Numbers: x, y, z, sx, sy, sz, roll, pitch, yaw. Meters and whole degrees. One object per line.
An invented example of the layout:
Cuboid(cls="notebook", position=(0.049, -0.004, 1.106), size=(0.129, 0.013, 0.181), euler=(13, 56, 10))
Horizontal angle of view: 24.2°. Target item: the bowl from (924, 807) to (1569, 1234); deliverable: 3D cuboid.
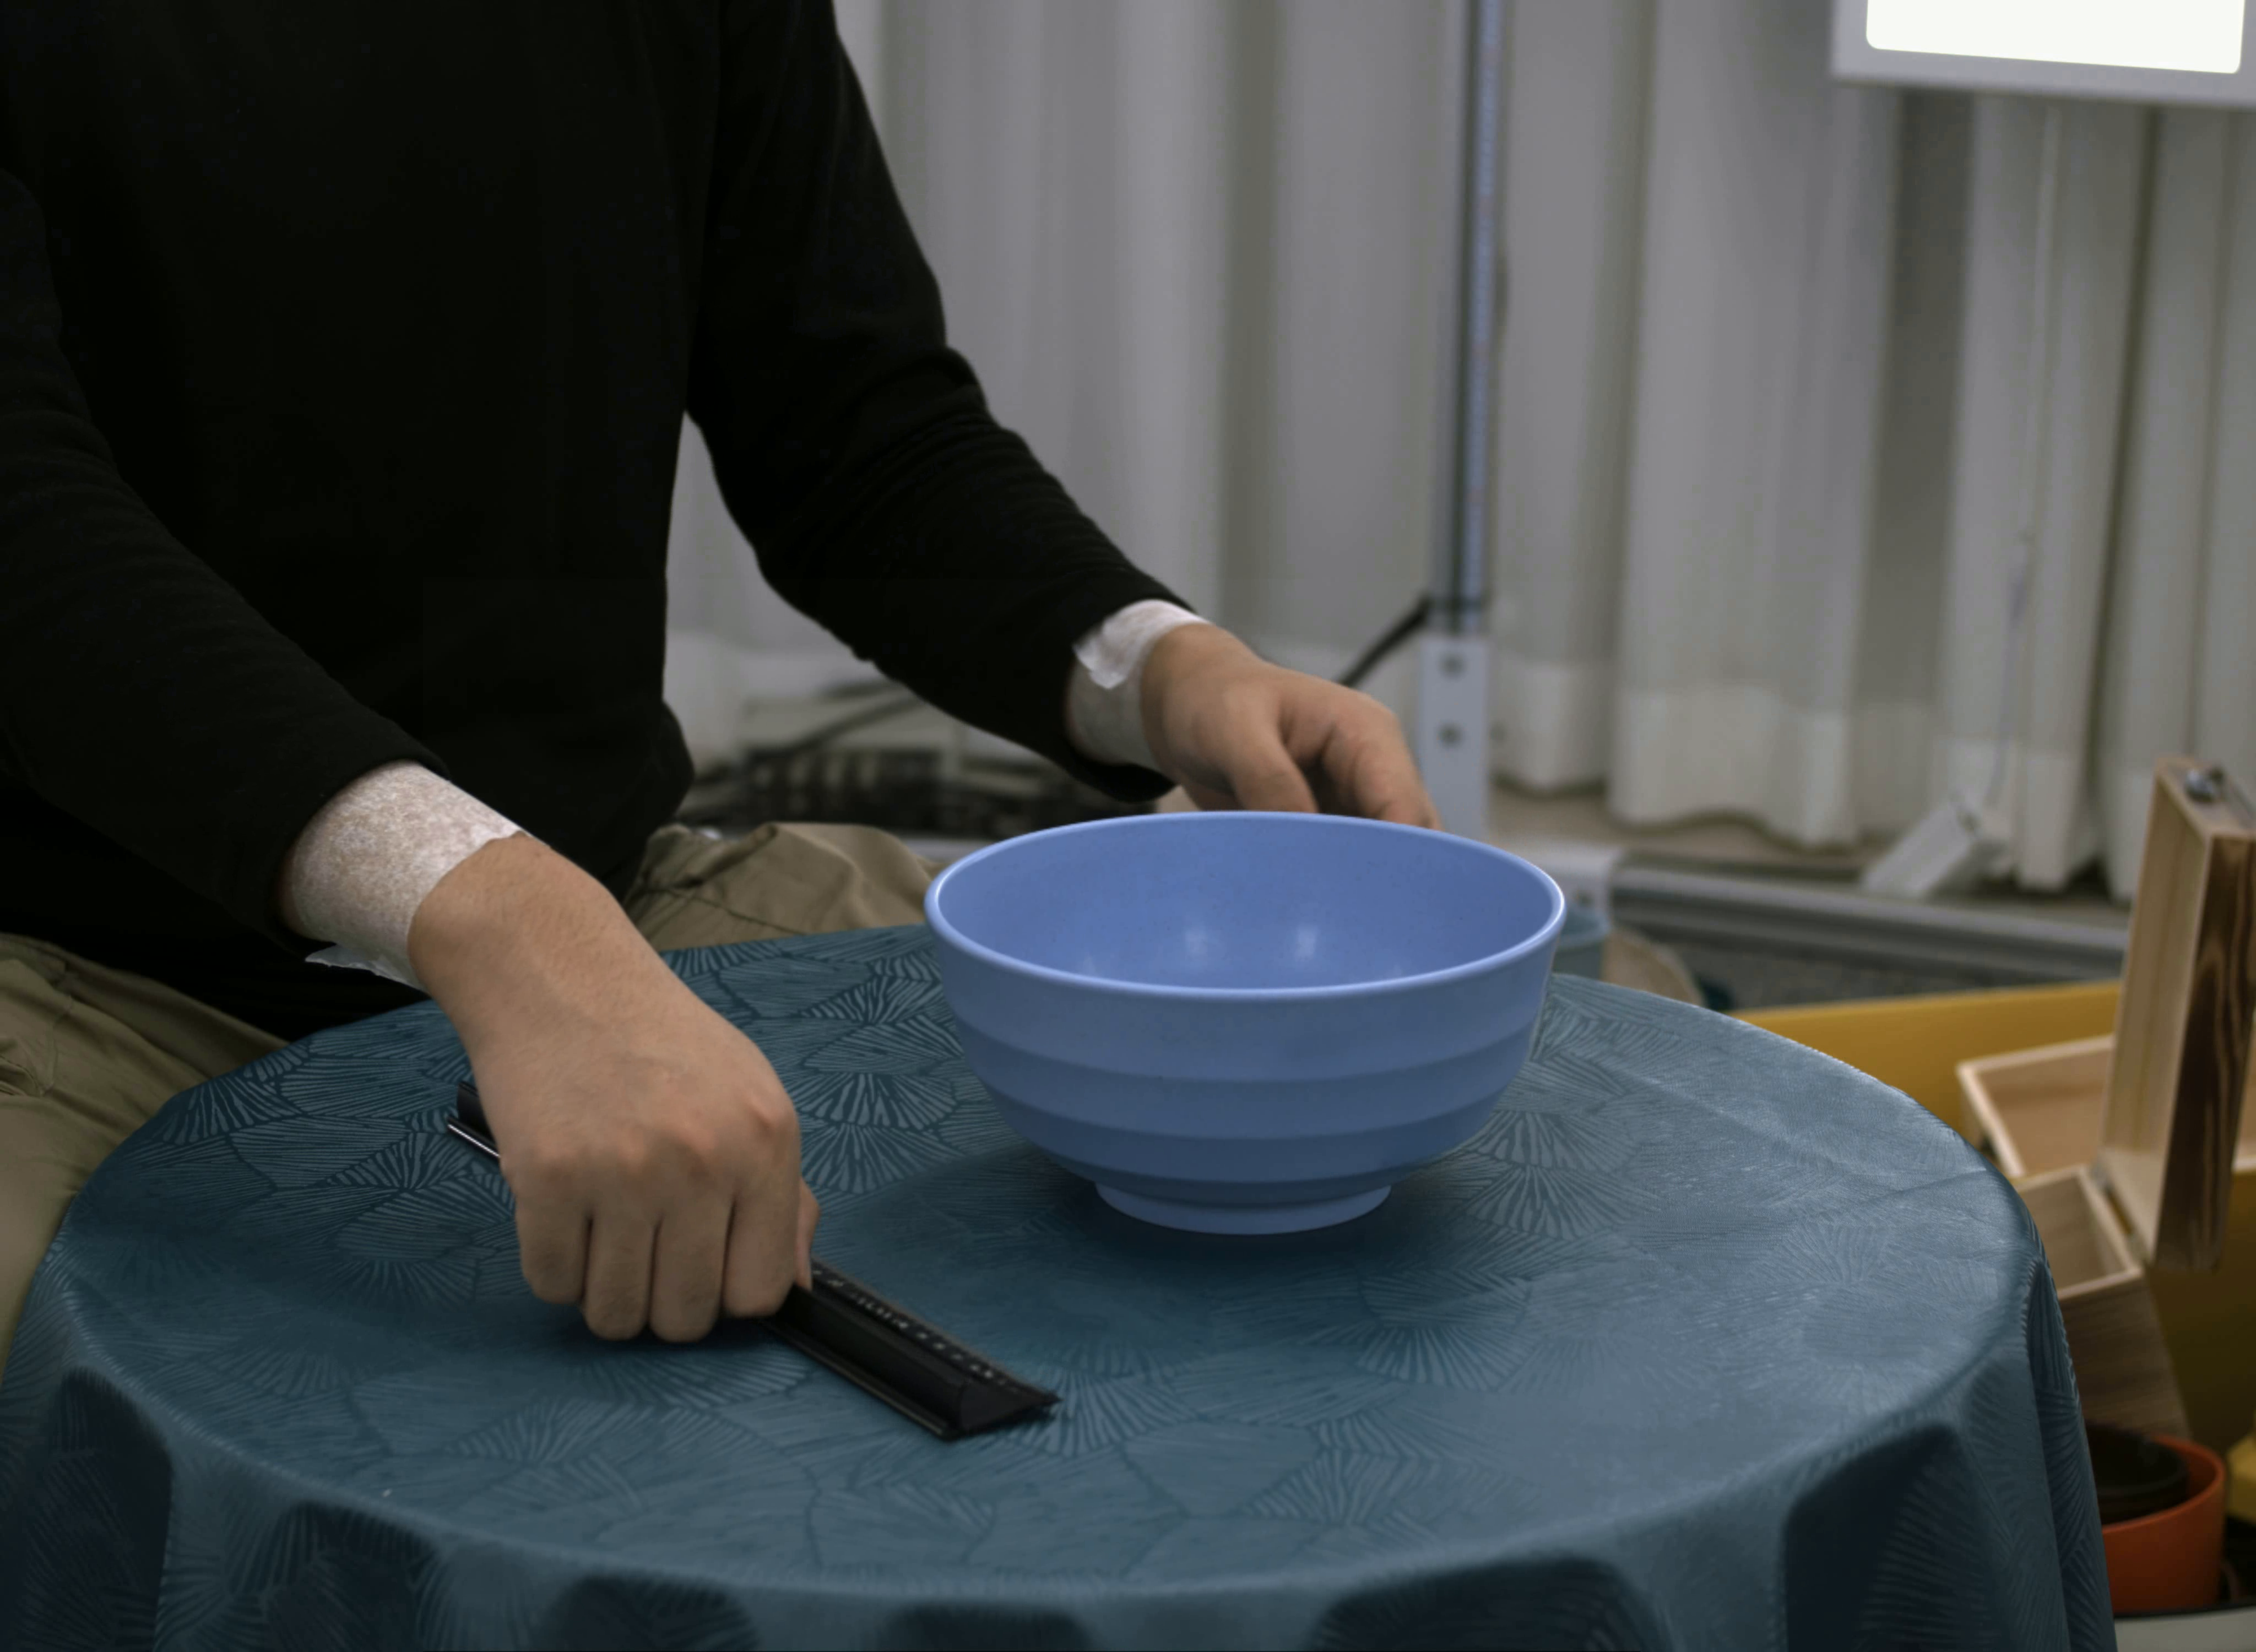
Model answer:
Cuboid(cls="bowl", position=(0.035, 0.065, 1.612), size=(0.196, 0.096, 0.195), euler=(1, 16, 0))

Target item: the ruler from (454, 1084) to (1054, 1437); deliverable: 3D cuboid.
Cuboid(cls="ruler", position=(-0.116, 0.121, 1.553), size=(0.039, 0.017, 0.308), euler=(-9, 18, -31))
